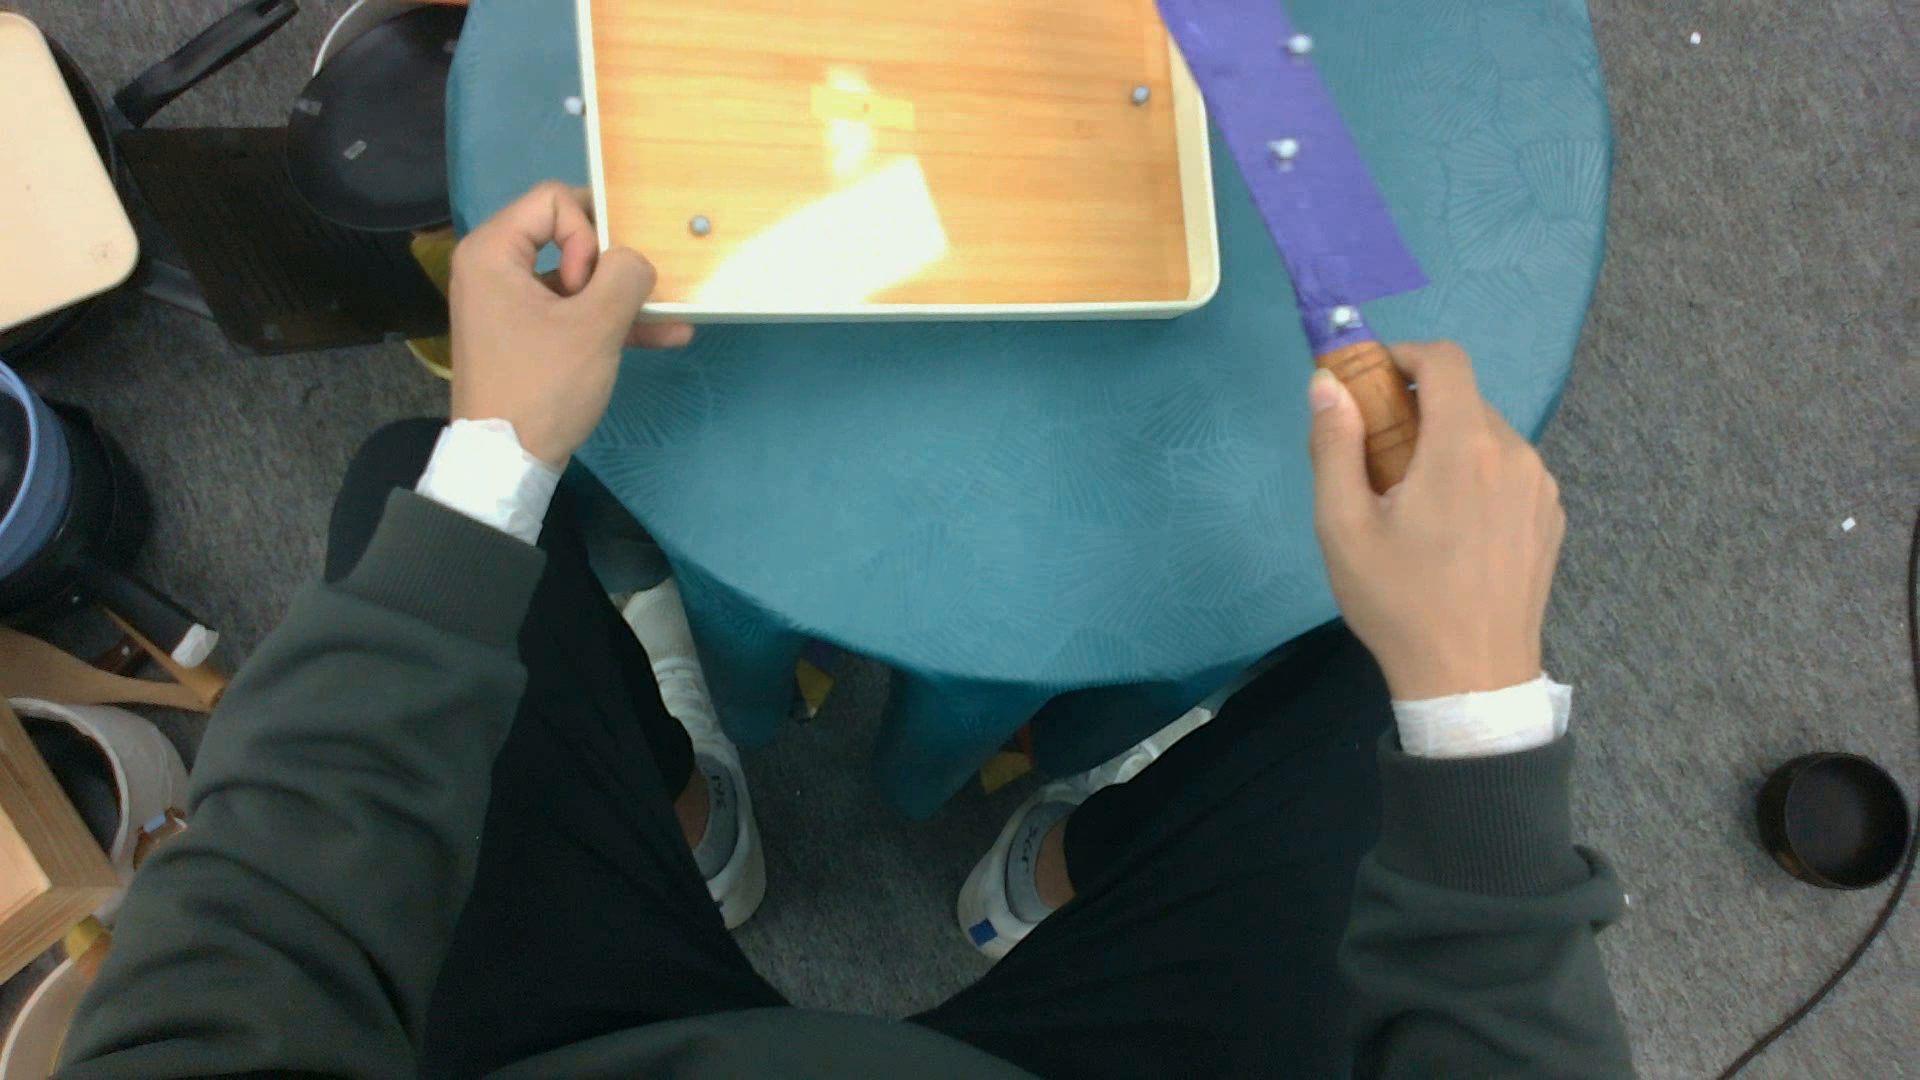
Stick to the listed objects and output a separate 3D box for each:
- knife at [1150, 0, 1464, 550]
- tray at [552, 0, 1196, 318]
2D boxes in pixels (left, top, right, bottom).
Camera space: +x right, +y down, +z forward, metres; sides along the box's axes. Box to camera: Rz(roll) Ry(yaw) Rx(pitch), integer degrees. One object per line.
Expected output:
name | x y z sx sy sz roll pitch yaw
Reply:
knife | 0.145 -0.152 0.572 0.104 0.032 0.315 -20 85 -38
tray | -0.032 -0.201 0.647 0.301 0.027 0.191 -4 86 -22
